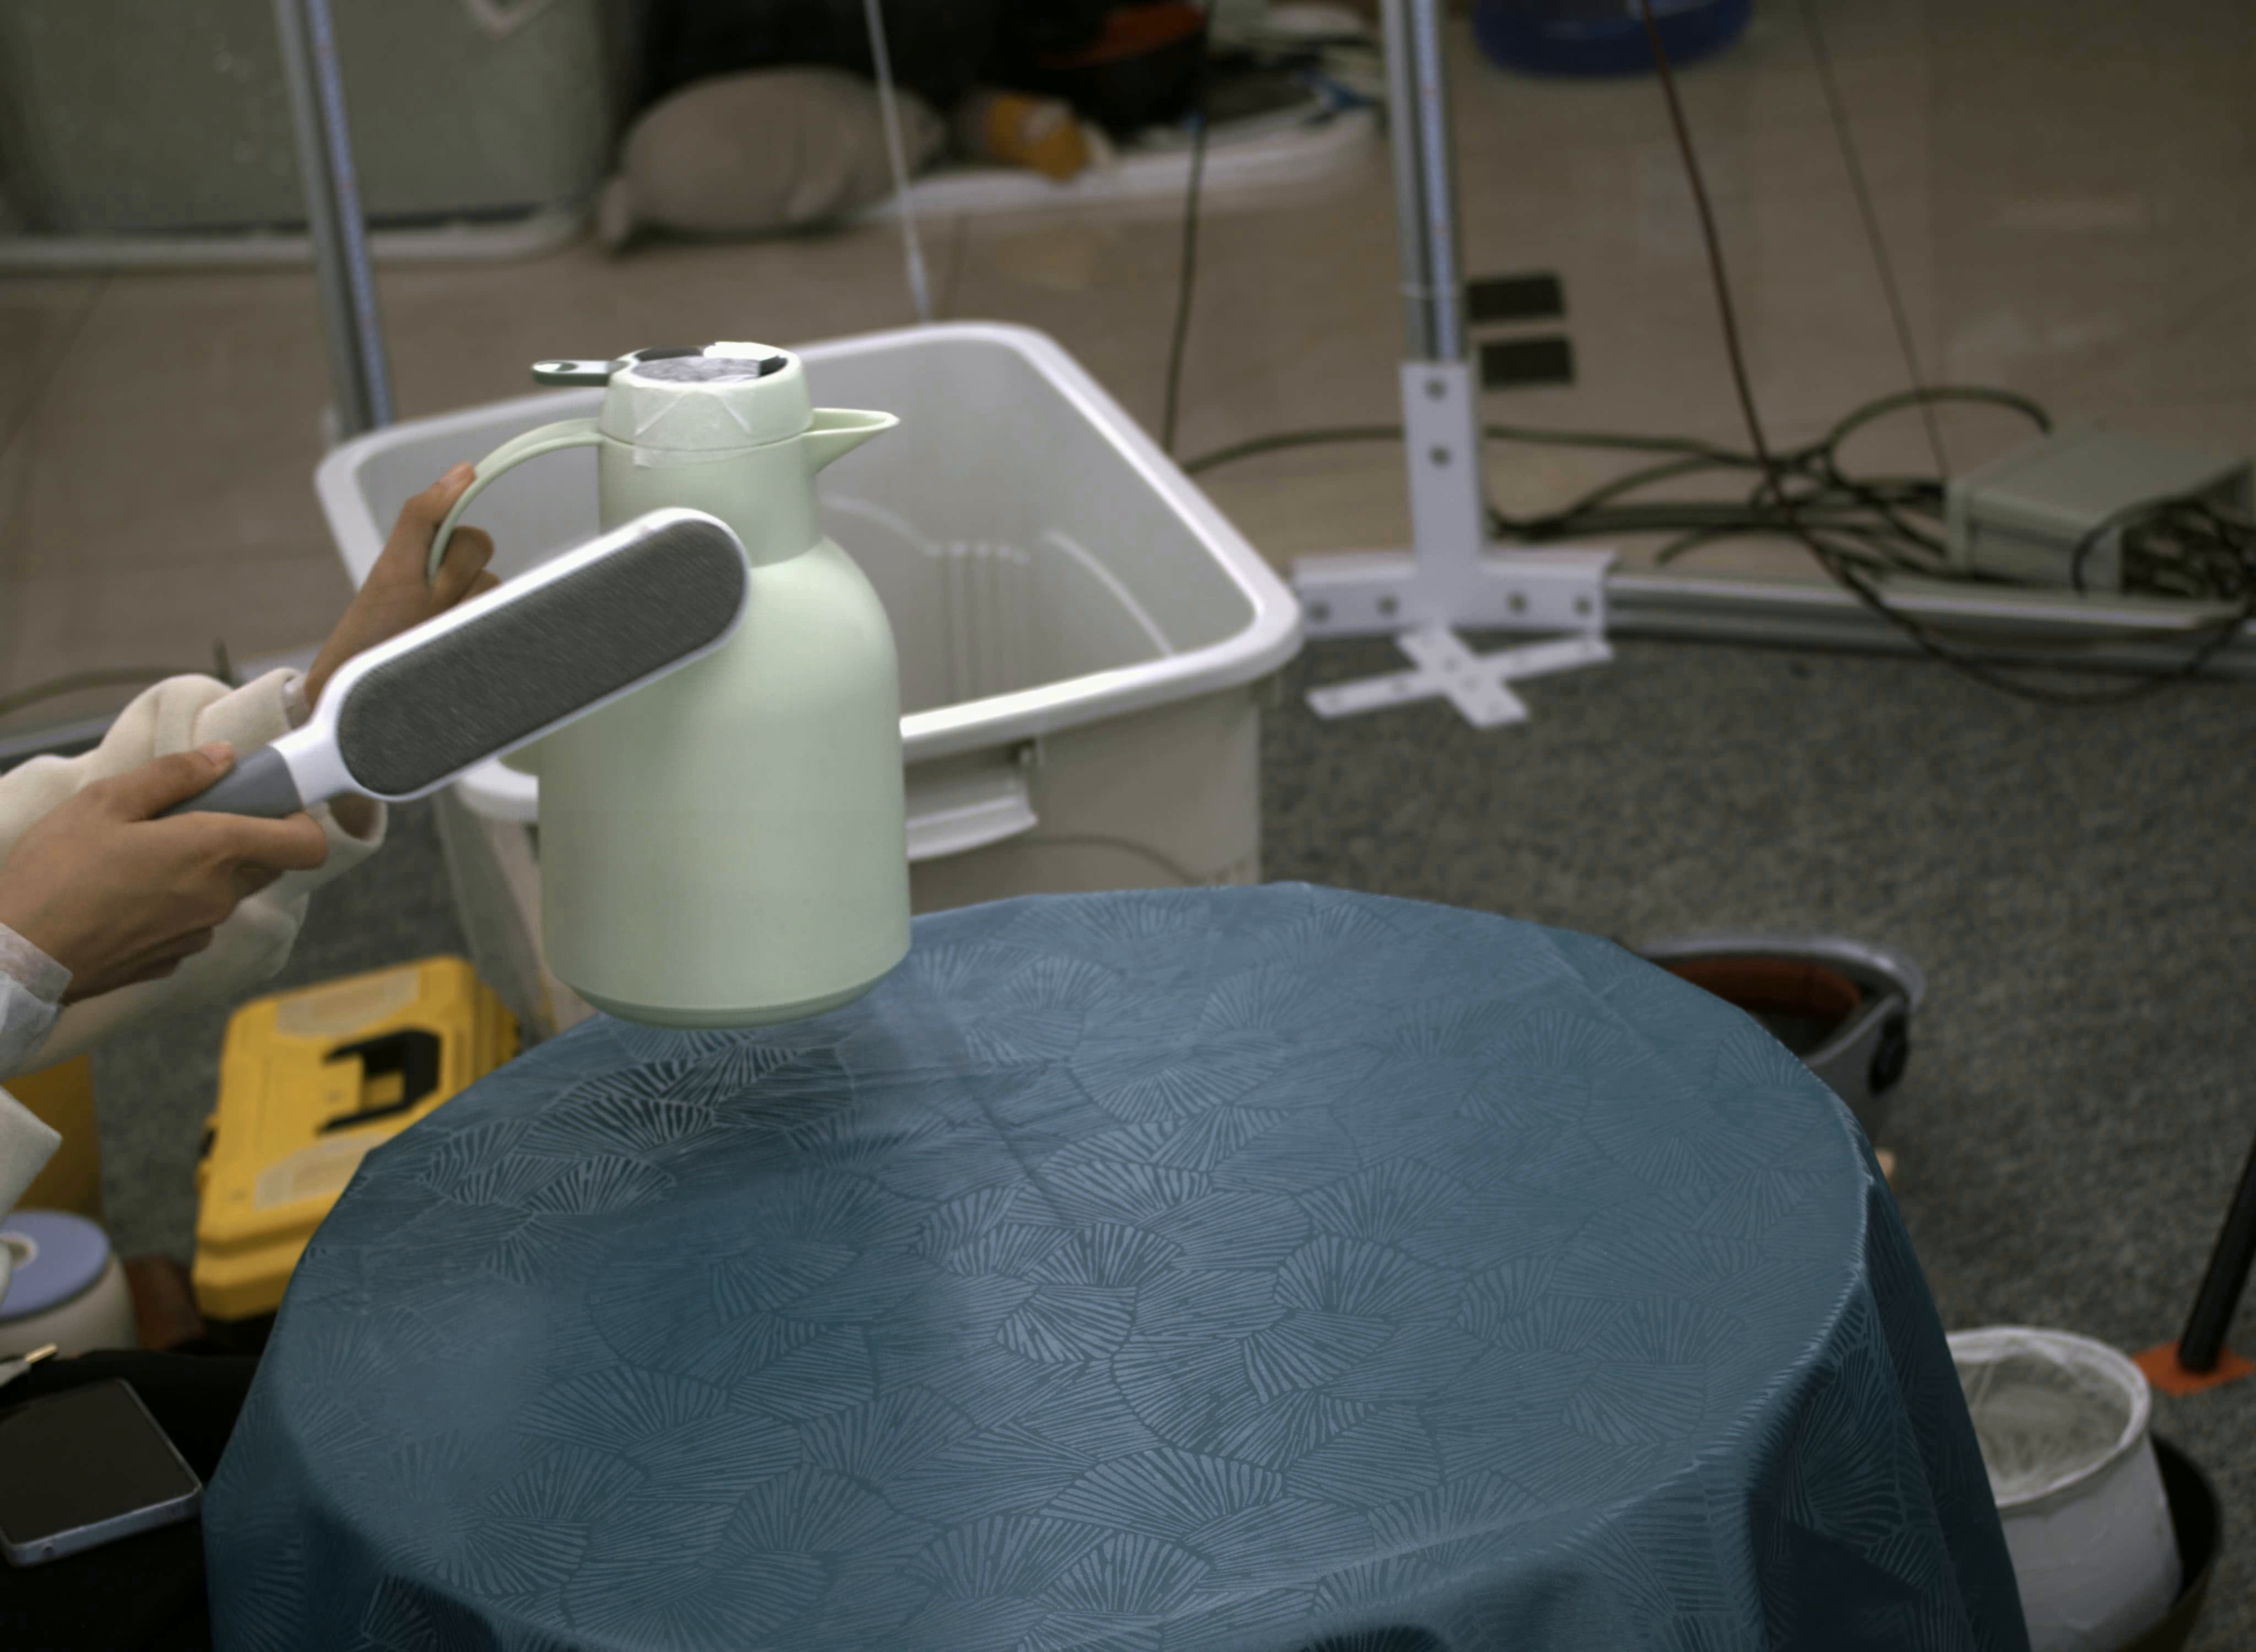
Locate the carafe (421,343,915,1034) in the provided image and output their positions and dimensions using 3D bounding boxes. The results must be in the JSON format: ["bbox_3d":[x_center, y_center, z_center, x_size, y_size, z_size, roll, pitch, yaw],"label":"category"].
[{"bbox_3d":[-0.175,-0.057,2.196,0.186,0.260,0.142,-5,22,-1],"label":"carafe"}]

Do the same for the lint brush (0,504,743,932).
[{"bbox_3d":[-0.270,-0.039,2.049,0.307,0.061,0.021,-28,27,-23],"label":"lint brush"}]
